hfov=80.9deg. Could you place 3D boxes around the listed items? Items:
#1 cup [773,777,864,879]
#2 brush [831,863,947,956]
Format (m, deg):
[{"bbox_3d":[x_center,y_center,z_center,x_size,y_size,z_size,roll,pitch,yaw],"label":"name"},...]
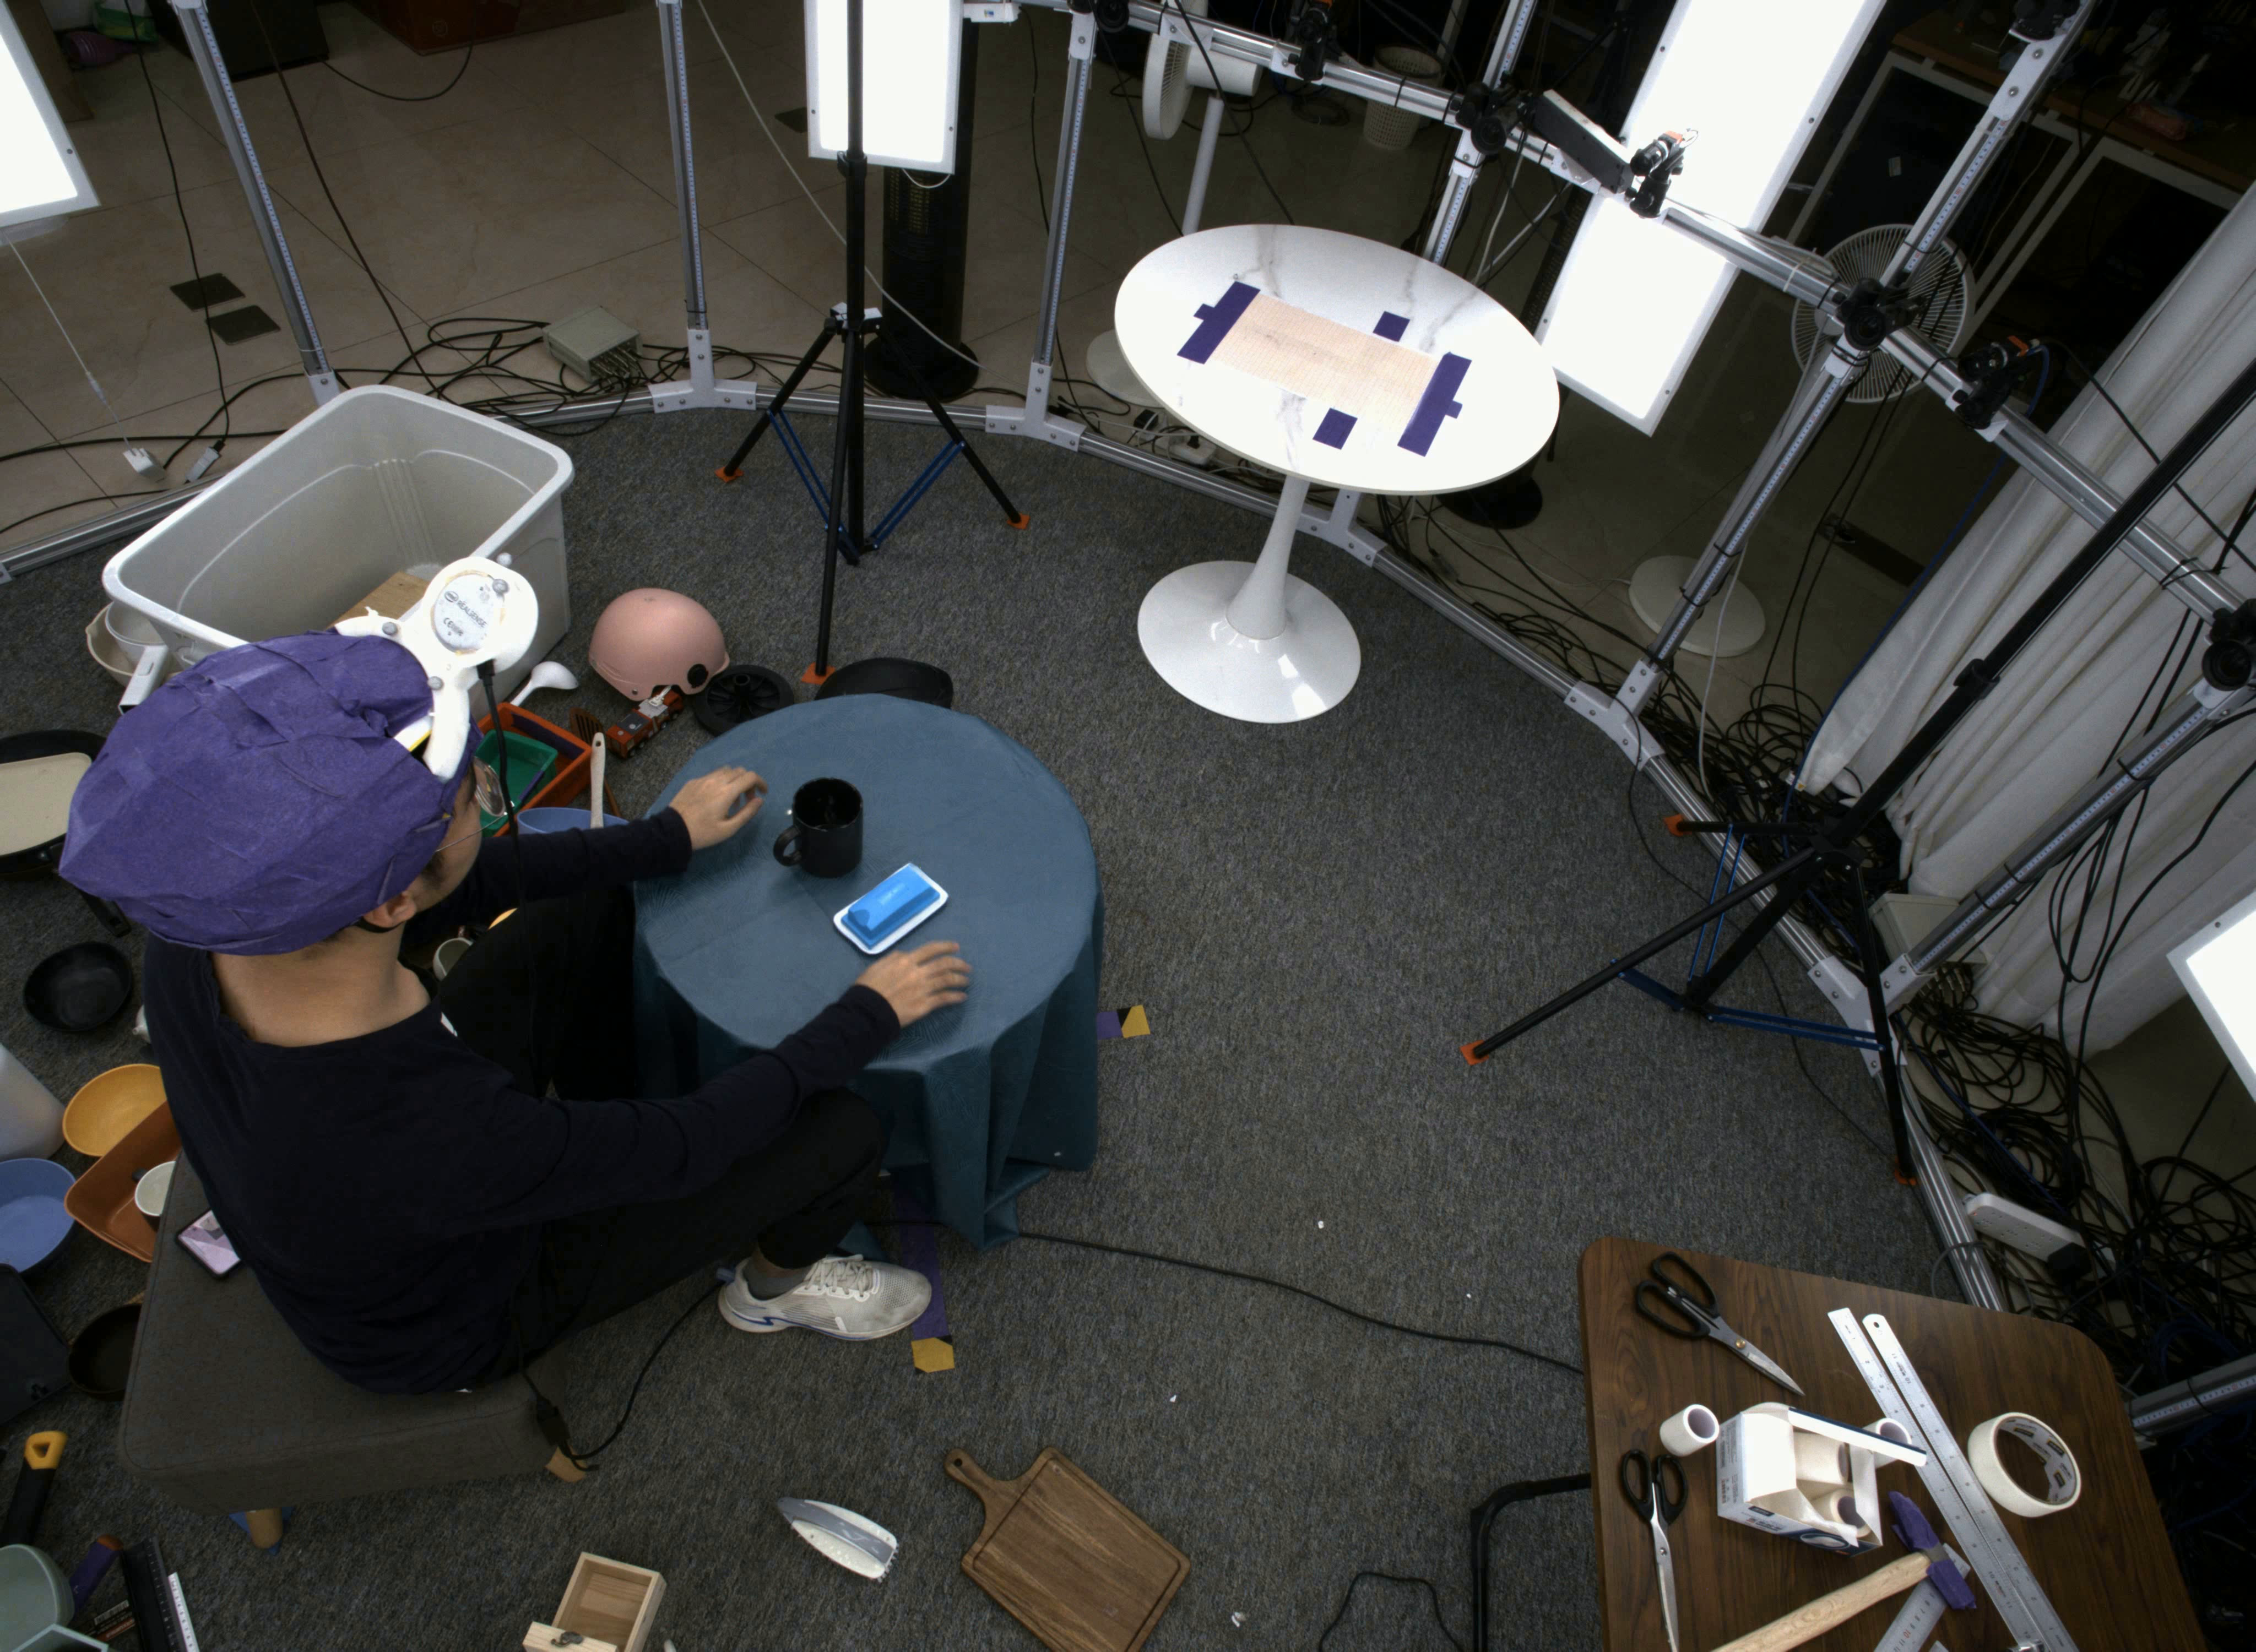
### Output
[{"bbox_3d":[-0.398,0.010,1.660,0.124,0.107,0.087,-31,66,-28],"label":"cup"},{"bbox_3d":[-0.302,0.097,1.645,0.082,0.057,0.144,39,52,21],"label":"brush"}]
